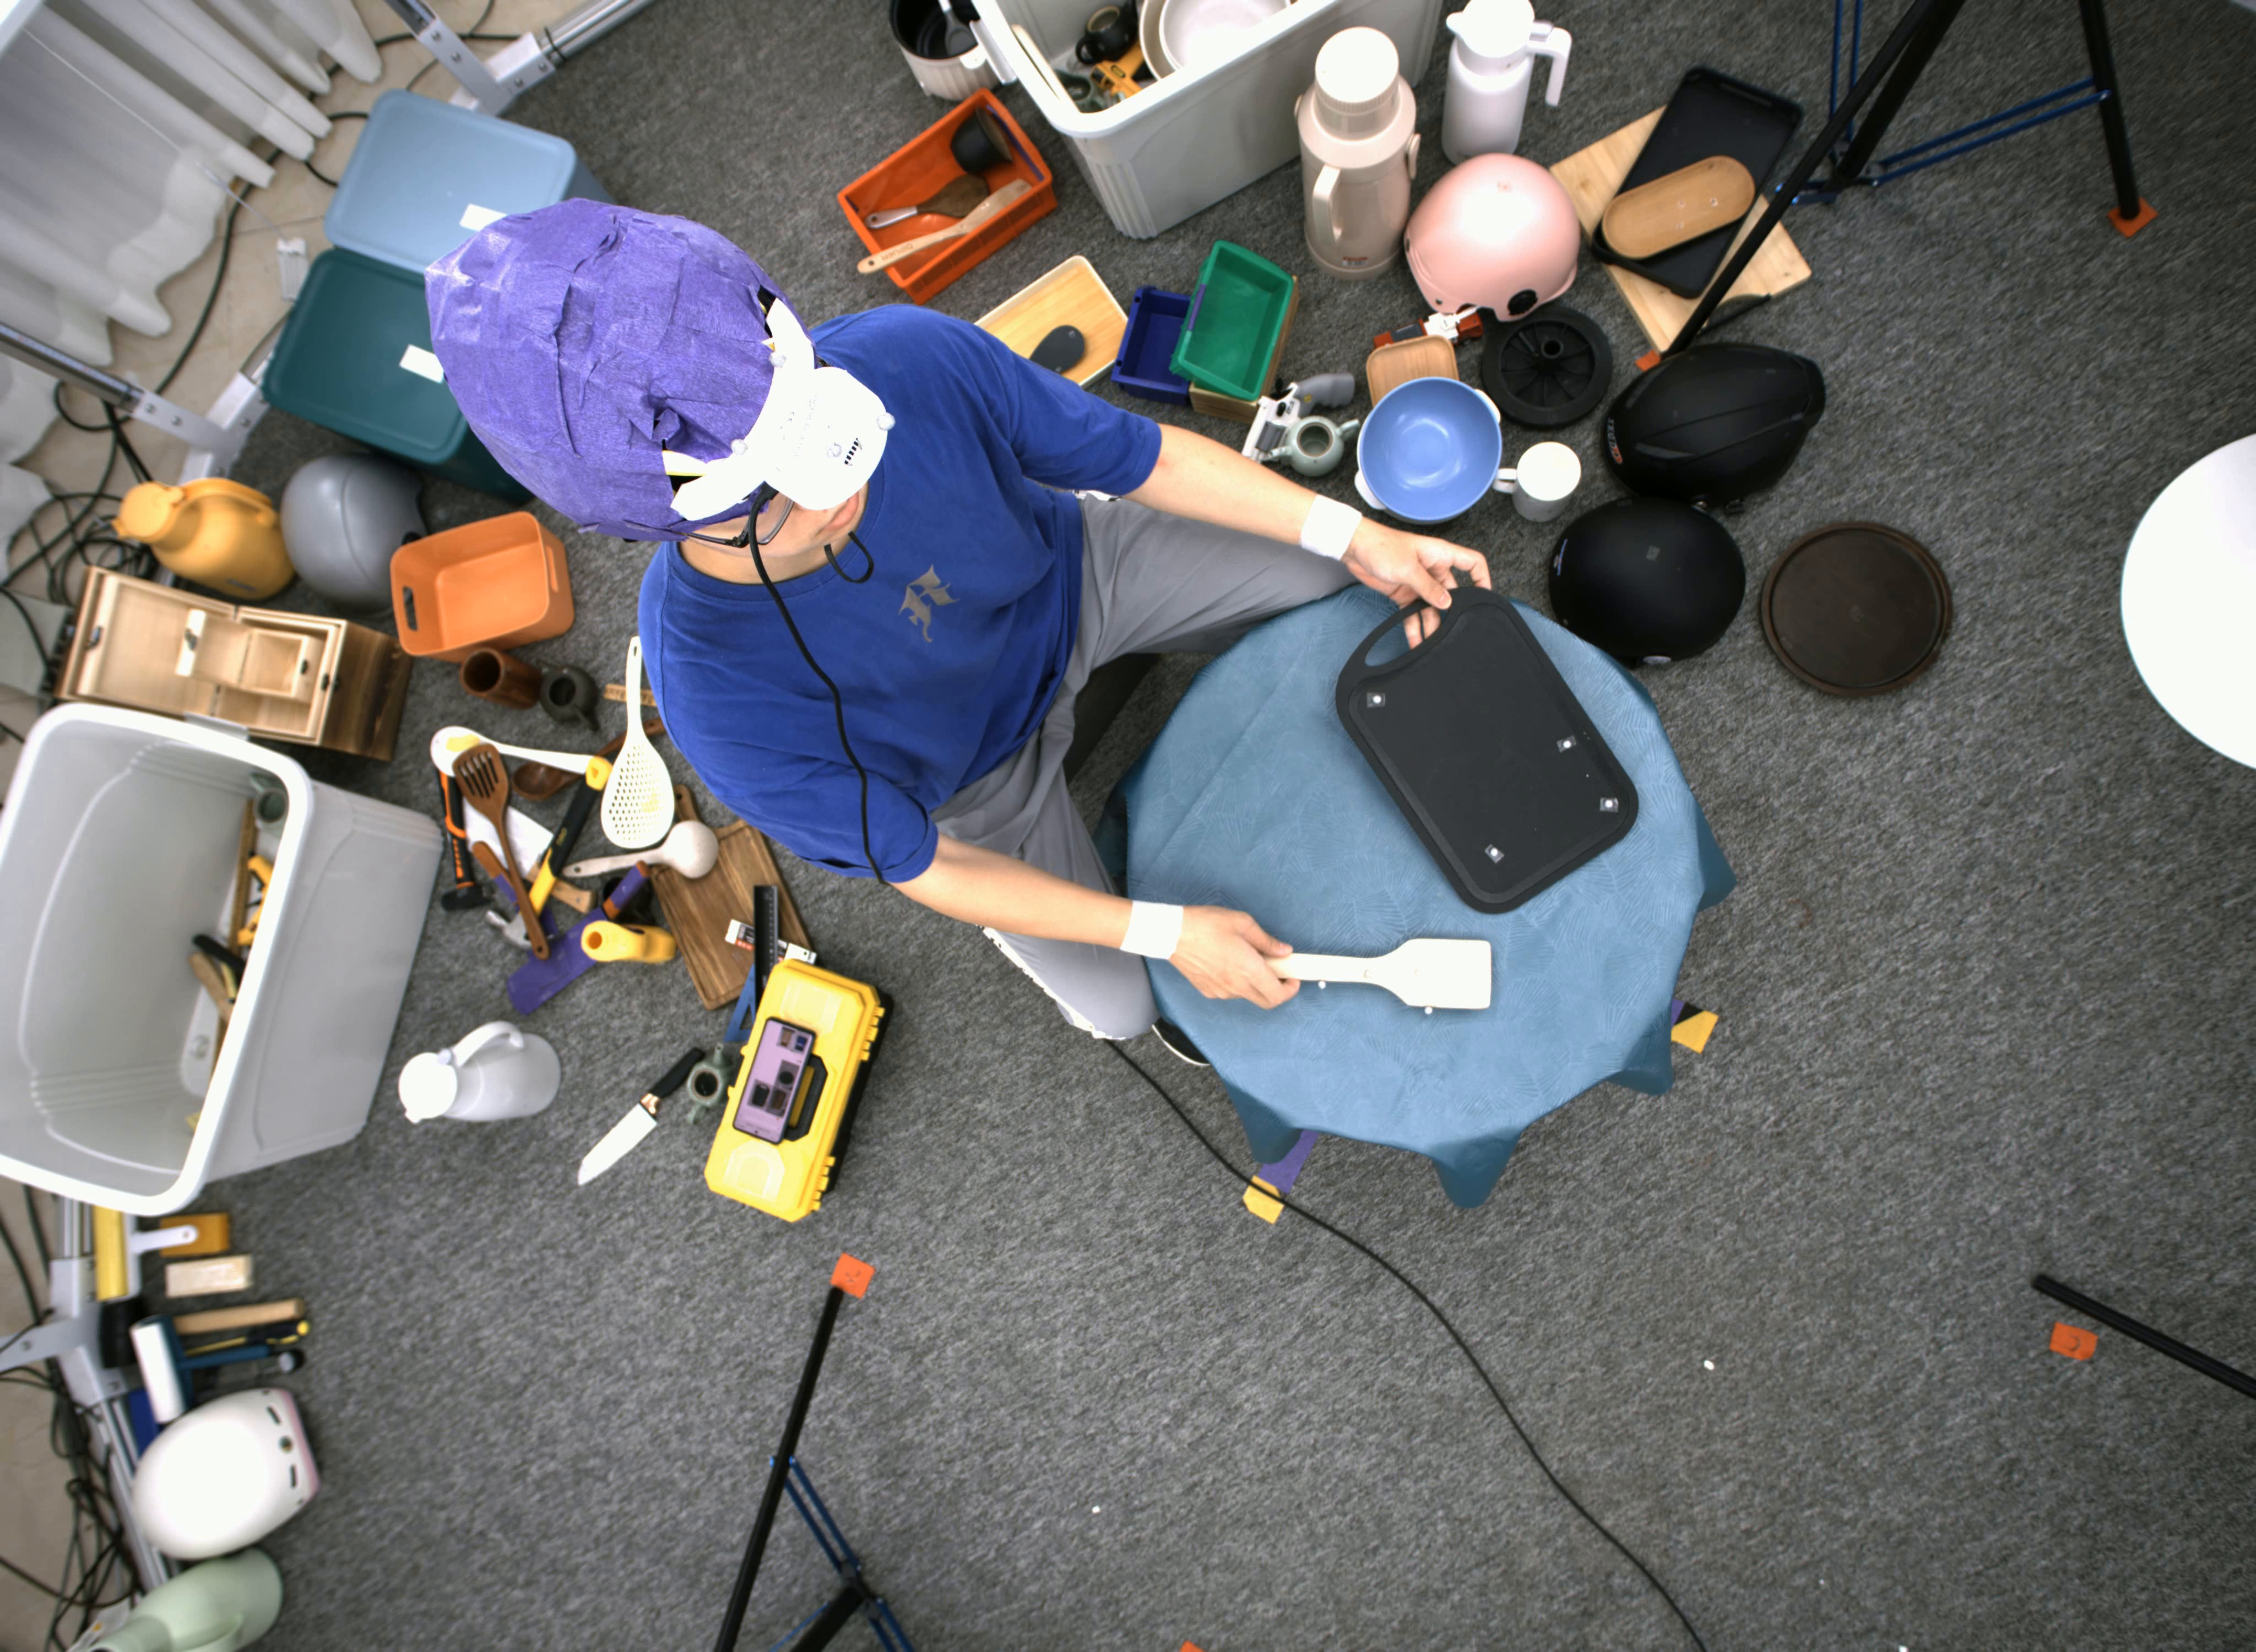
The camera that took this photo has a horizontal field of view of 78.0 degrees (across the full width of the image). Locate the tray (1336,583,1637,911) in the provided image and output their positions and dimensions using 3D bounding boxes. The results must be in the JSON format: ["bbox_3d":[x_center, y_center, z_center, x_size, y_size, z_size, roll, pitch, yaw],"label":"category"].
[{"bbox_3d":[0.362,-0.086,1.404,0.213,0.009,0.326,-33,95,10],"label":"tray"}]

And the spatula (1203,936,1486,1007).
[{"bbox_3d":[0.224,0.145,1.434,0.293,0.011,0.072,2,84,4],"label":"spatula"}]
